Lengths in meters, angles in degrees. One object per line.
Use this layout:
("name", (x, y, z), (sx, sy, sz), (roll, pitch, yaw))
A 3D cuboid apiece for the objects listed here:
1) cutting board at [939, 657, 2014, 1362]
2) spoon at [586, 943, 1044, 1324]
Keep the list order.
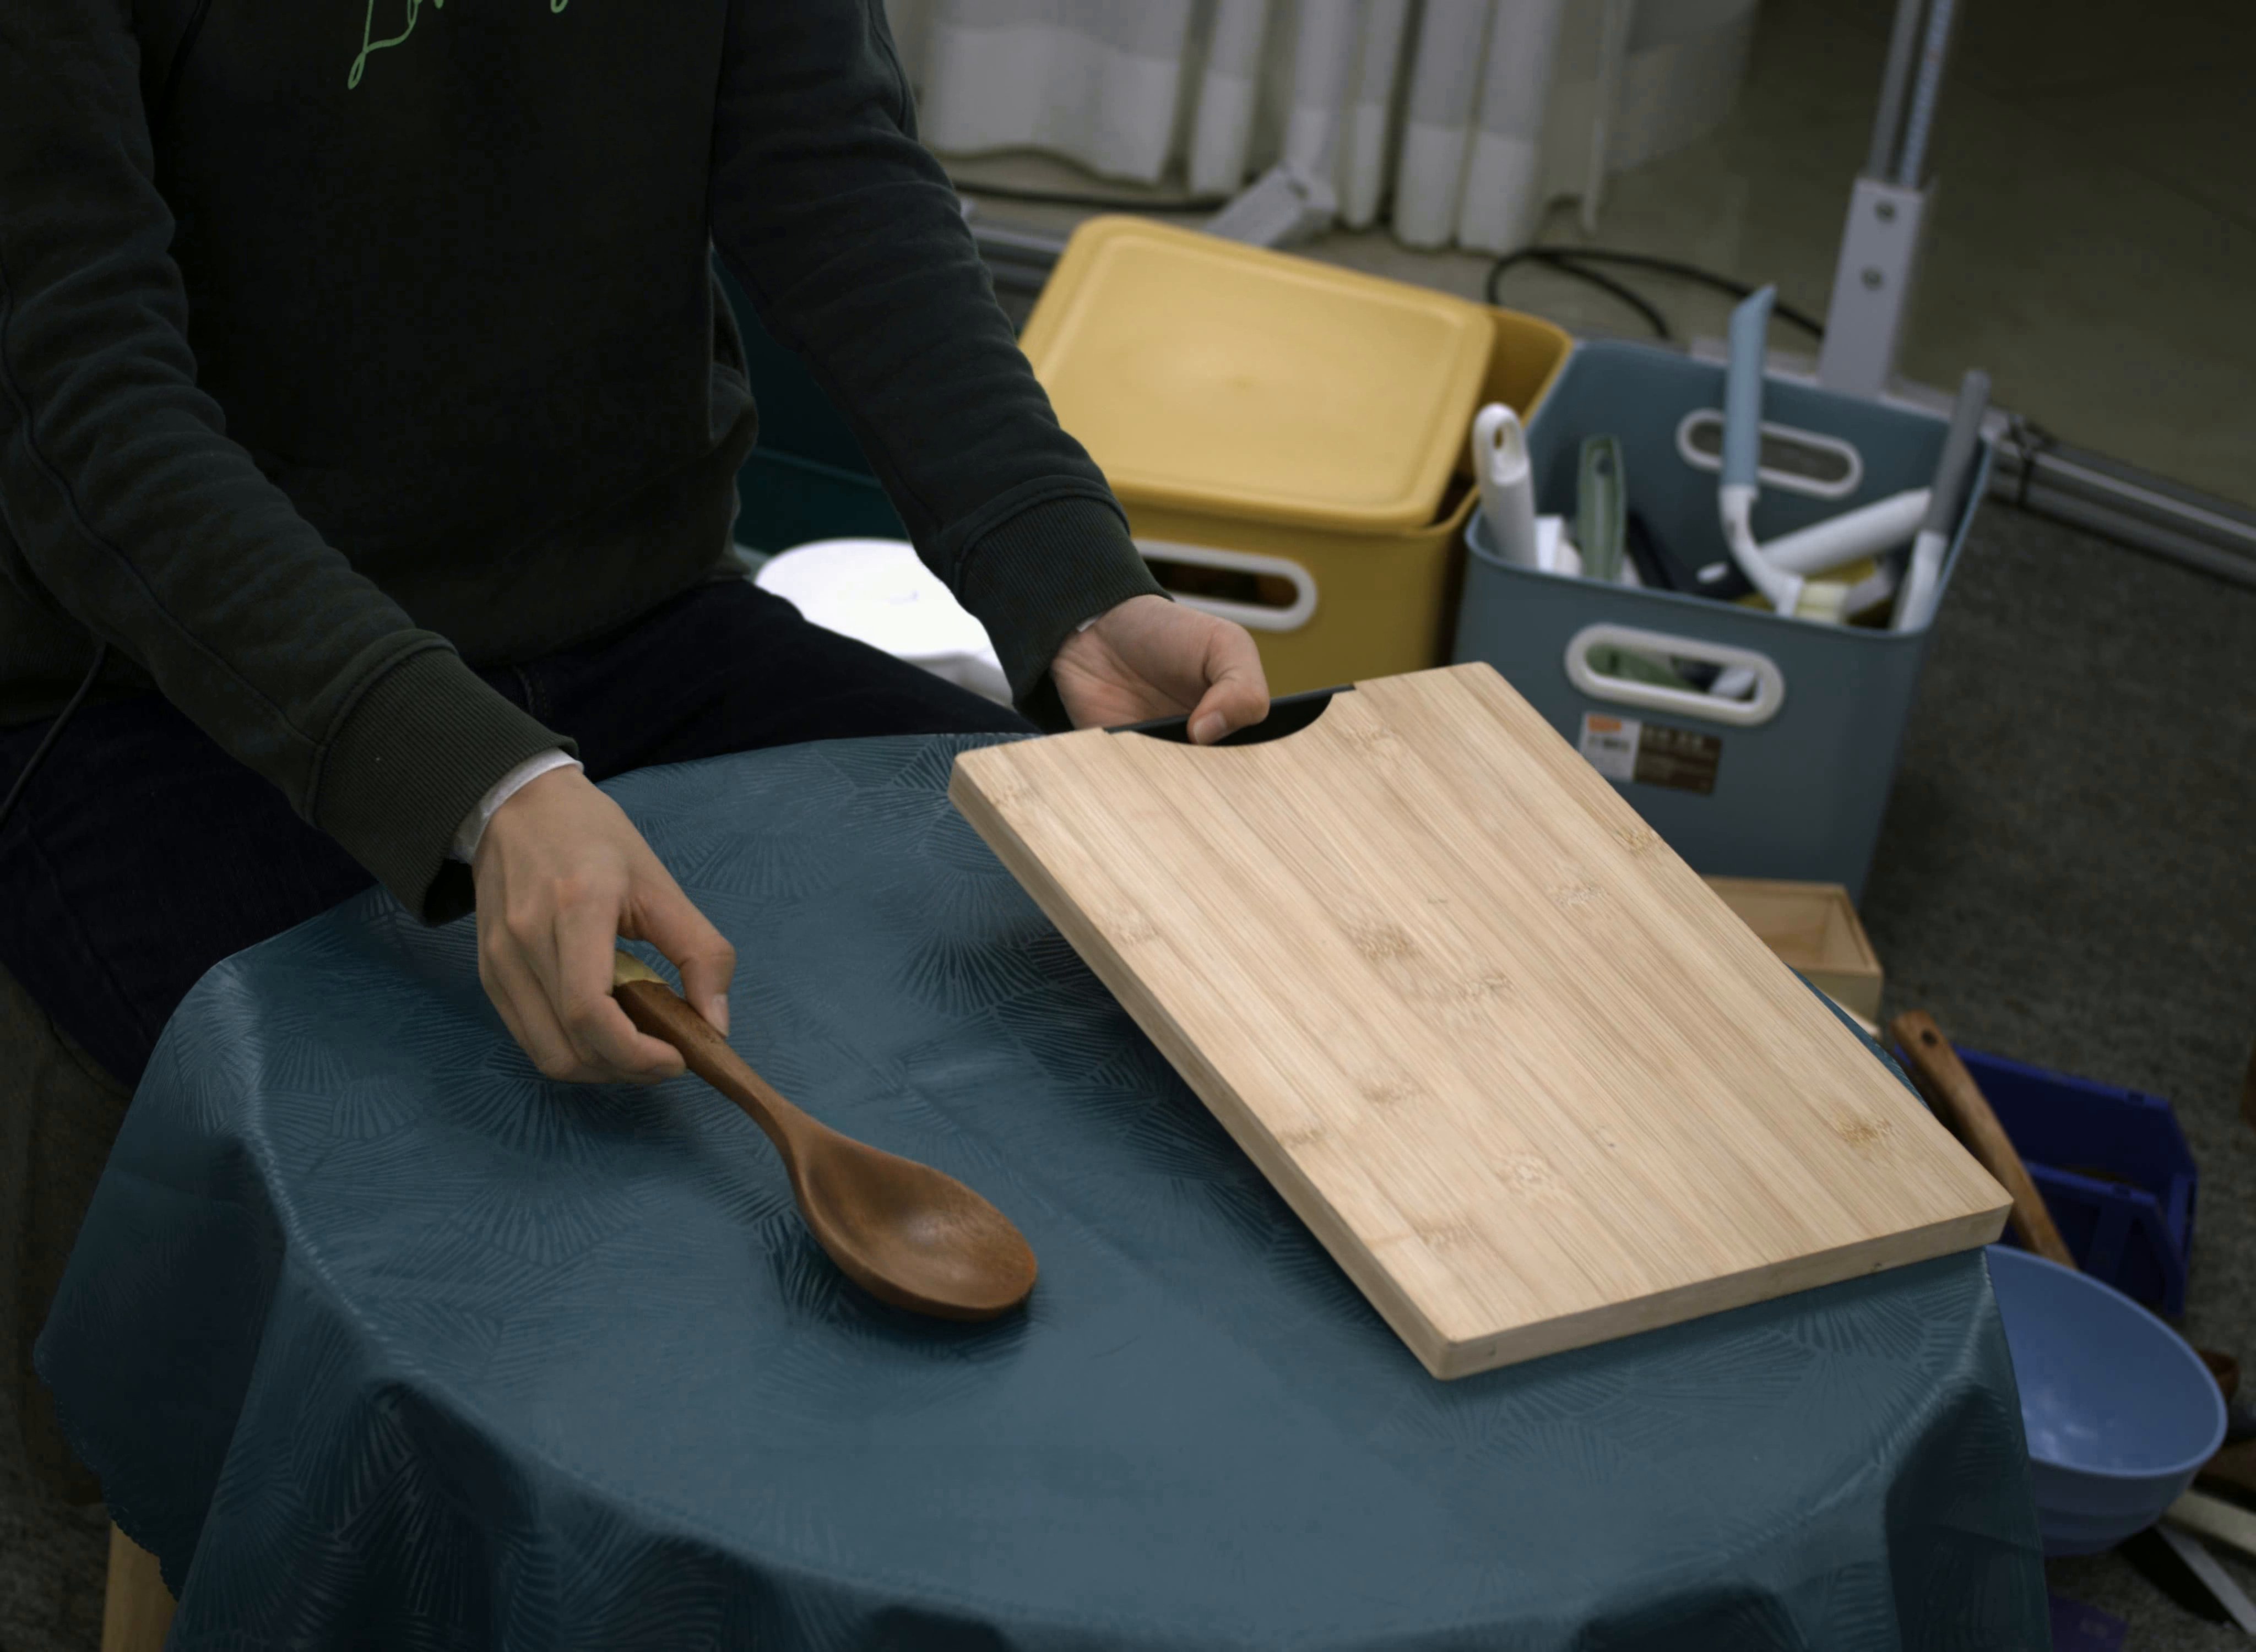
("cutting board", (0.117, 0.057, 1.885), (0.249, 0.023, 0.352), (-10, 39, -31))
("spoon", (-0.110, 0.103, 1.768), (0.075, 0.017, 0.217), (-12, 41, -43))
